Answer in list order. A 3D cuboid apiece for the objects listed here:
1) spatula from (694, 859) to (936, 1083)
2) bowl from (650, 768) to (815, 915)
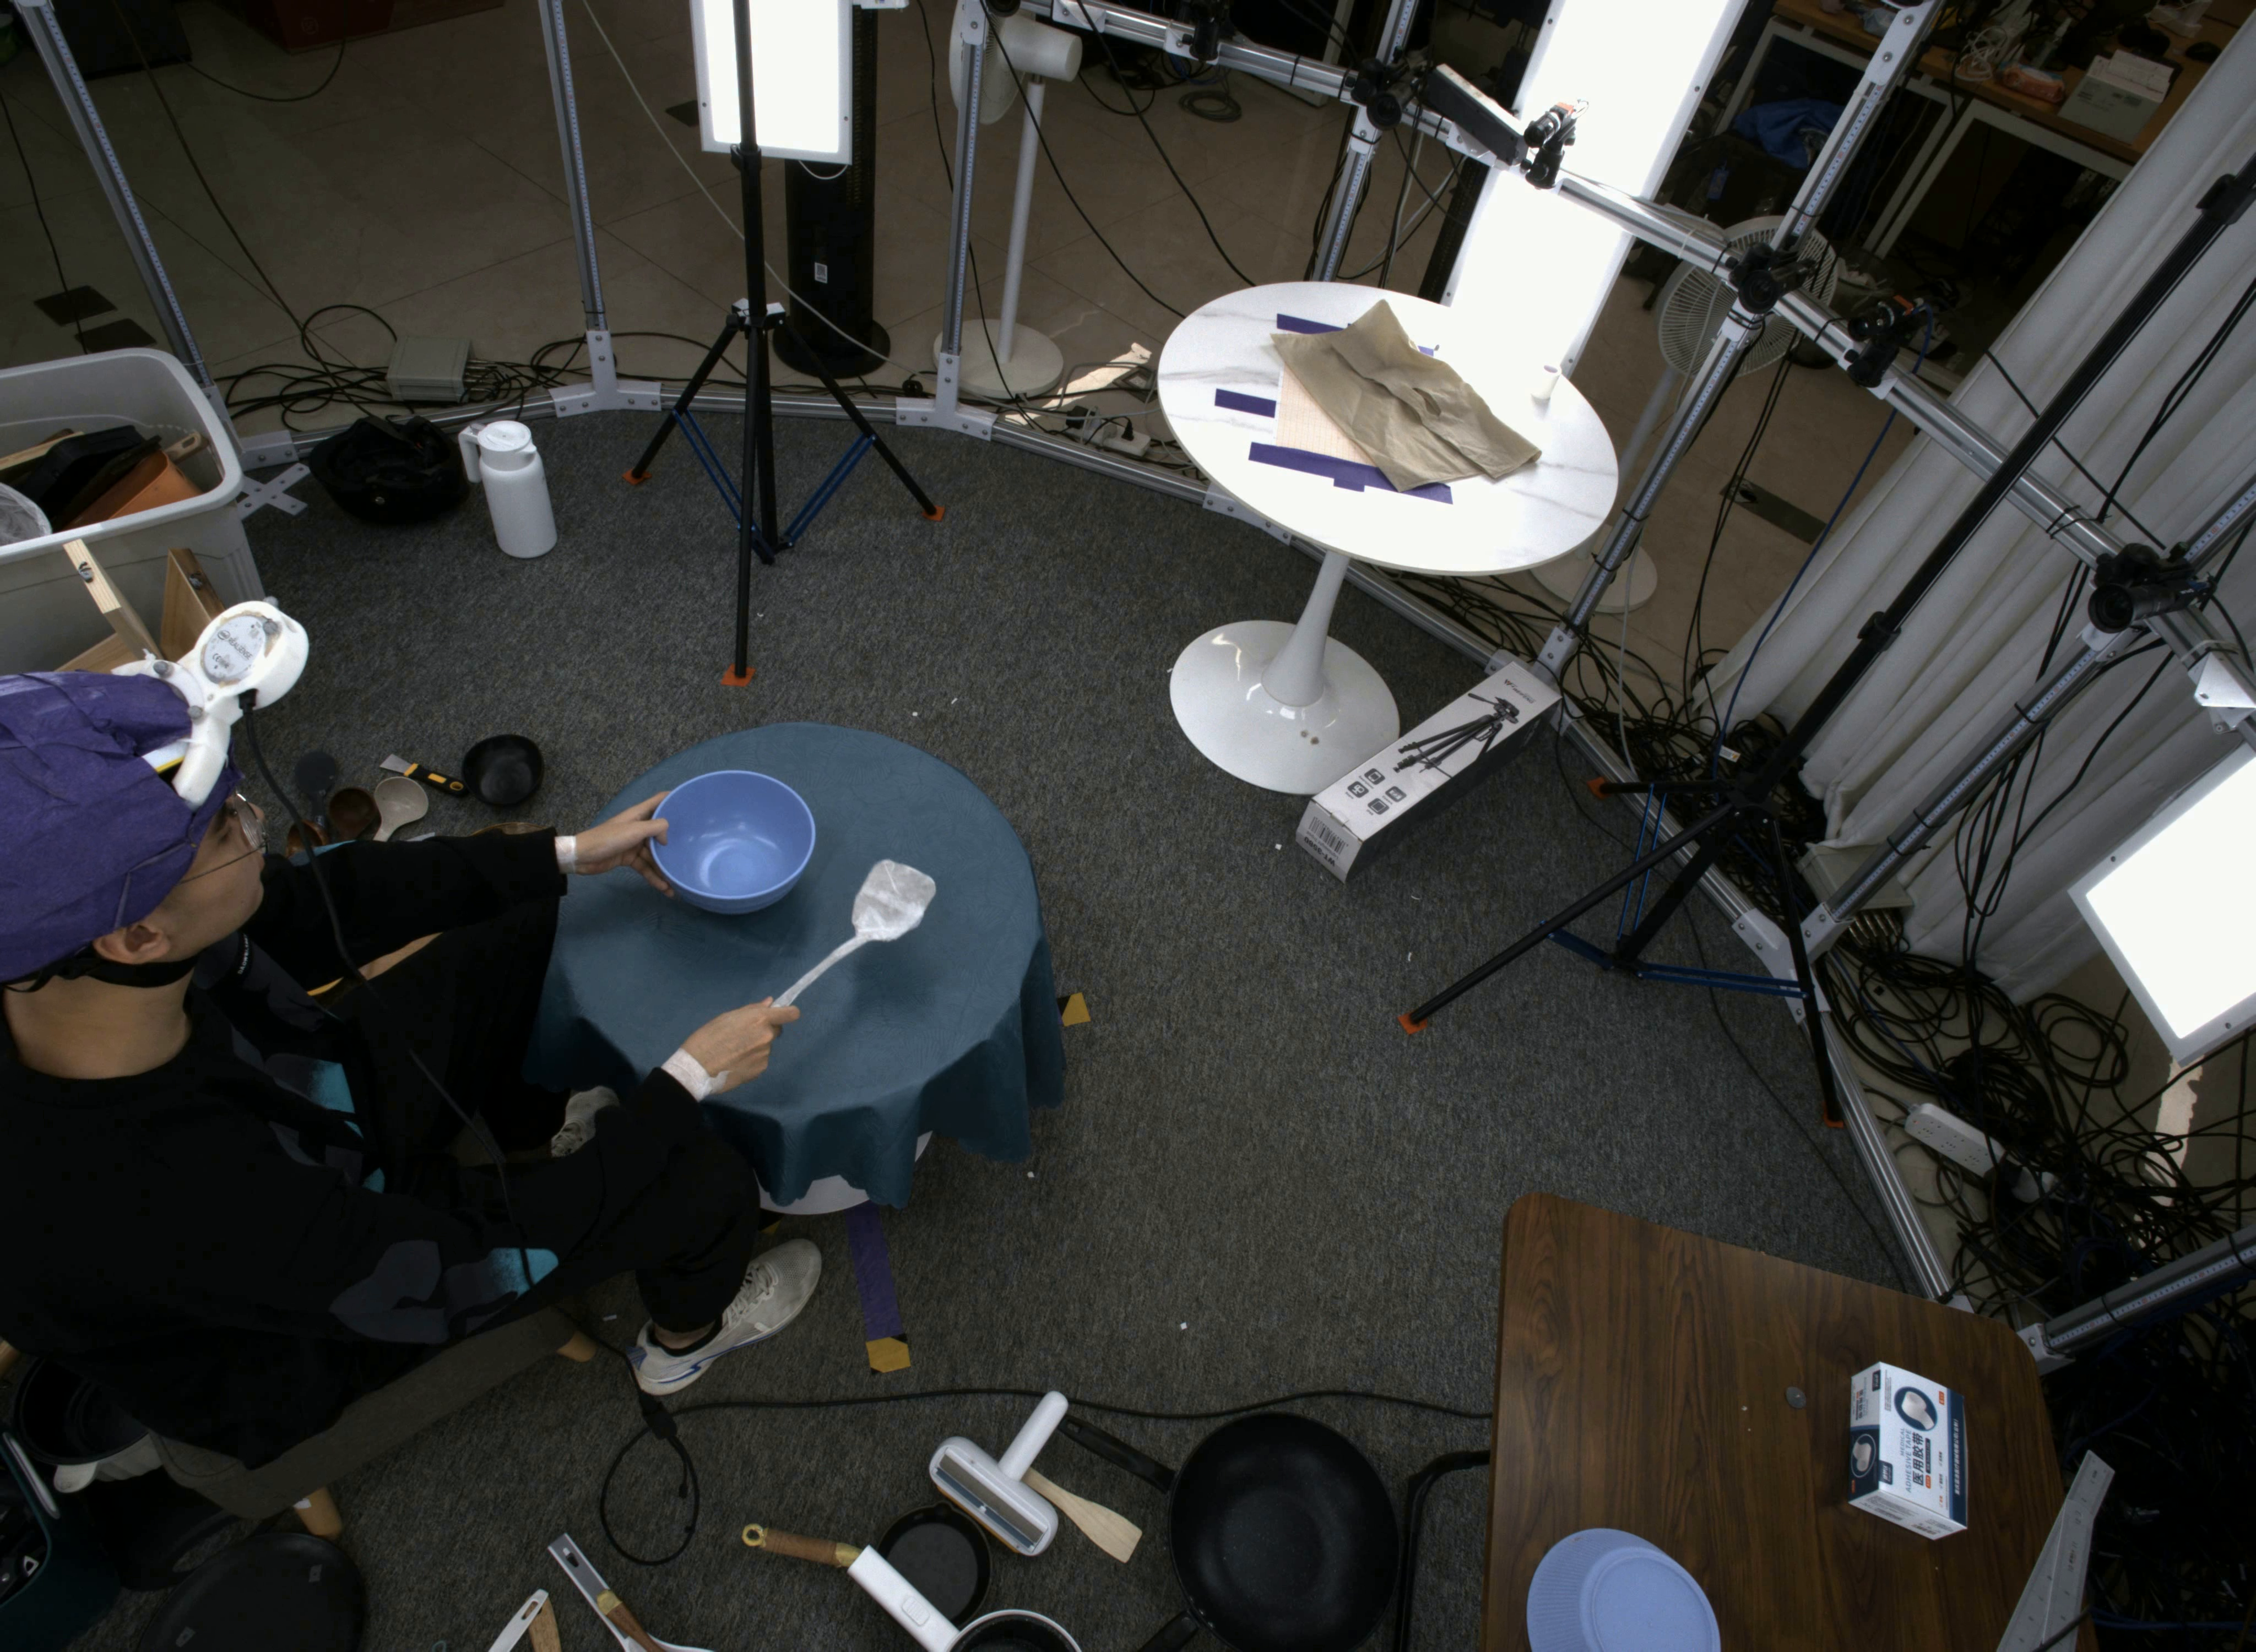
[{"bbox_3d":[-0.364,0.164,1.499,0.095,0.046,0.365,24,47,25],"label":"spatula"},{"bbox_3d":[-0.489,0.034,1.603,0.196,0.097,0.193,9,53,-11],"label":"bowl"}]
